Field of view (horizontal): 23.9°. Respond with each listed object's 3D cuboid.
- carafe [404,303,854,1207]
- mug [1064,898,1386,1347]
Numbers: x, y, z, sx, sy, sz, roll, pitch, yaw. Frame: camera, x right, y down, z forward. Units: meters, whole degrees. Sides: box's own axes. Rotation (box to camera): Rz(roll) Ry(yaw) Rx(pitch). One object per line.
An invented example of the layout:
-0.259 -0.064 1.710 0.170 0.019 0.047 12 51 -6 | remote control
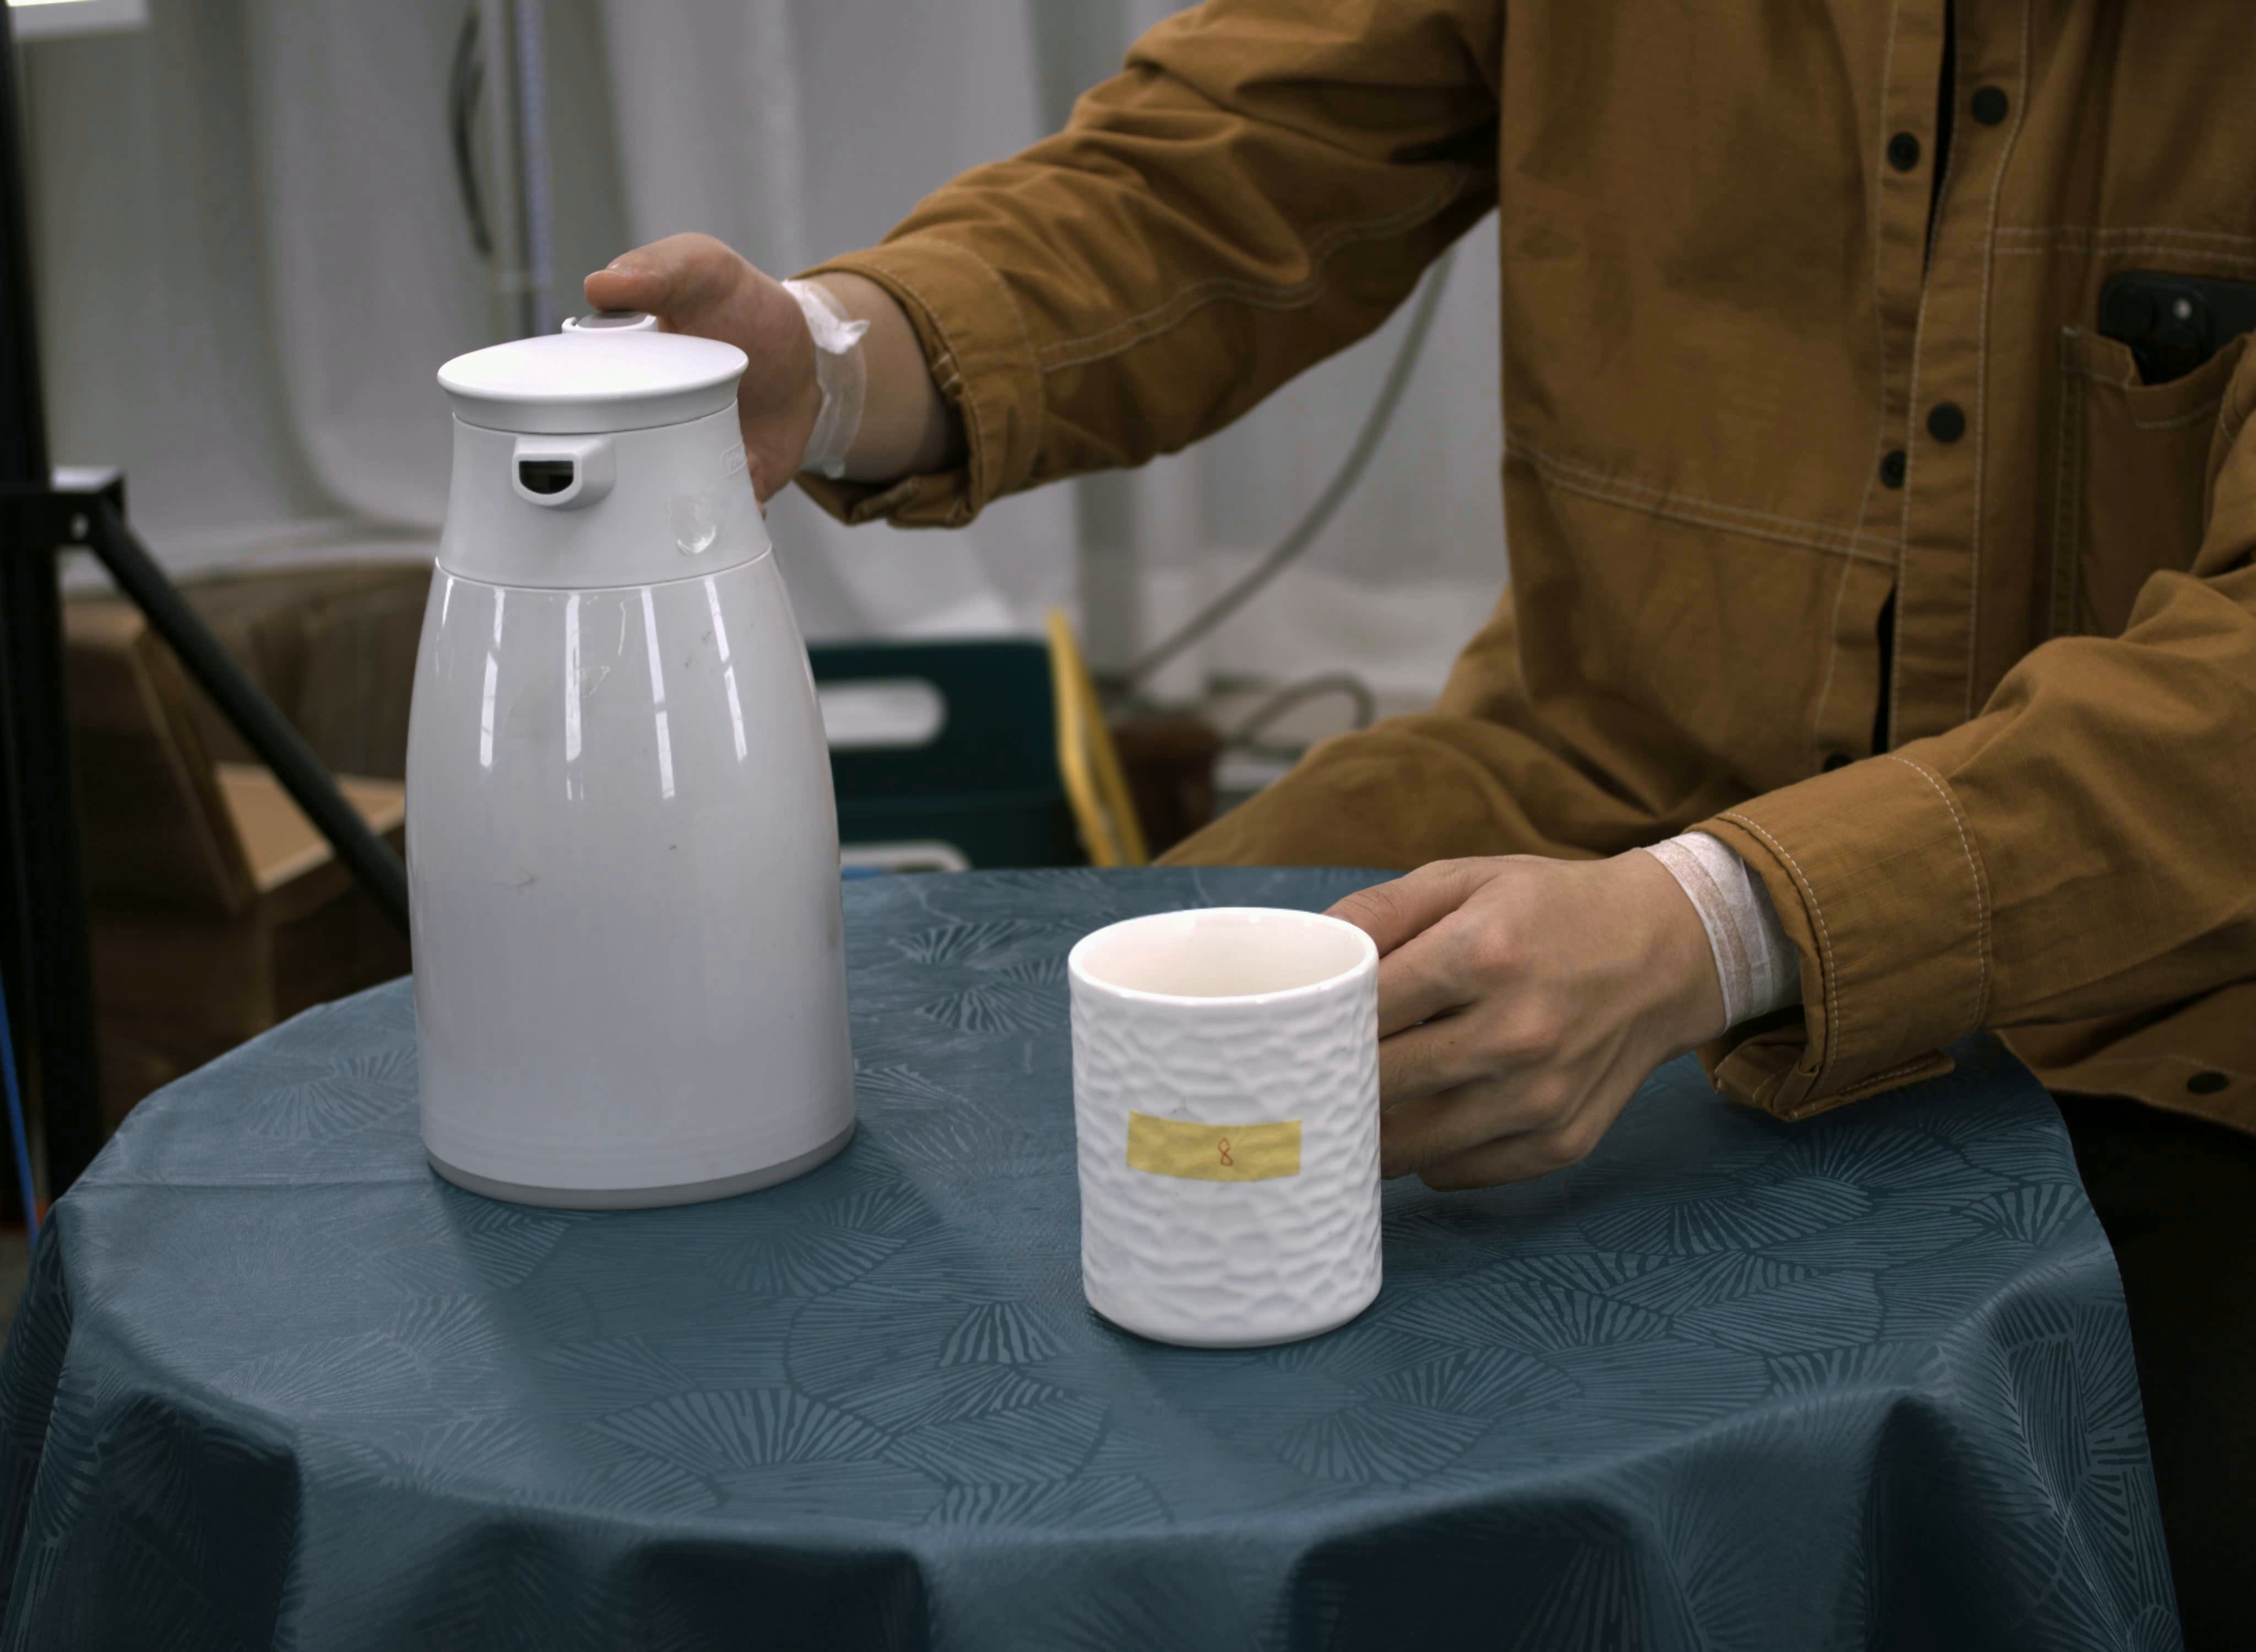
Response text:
-0.152 -0.029 1.612 0.133 0.248 0.167 -1 15 8 | carafe
0.035 0.077 1.464 0.086 0.102 0.116 5 19 28 | mug
